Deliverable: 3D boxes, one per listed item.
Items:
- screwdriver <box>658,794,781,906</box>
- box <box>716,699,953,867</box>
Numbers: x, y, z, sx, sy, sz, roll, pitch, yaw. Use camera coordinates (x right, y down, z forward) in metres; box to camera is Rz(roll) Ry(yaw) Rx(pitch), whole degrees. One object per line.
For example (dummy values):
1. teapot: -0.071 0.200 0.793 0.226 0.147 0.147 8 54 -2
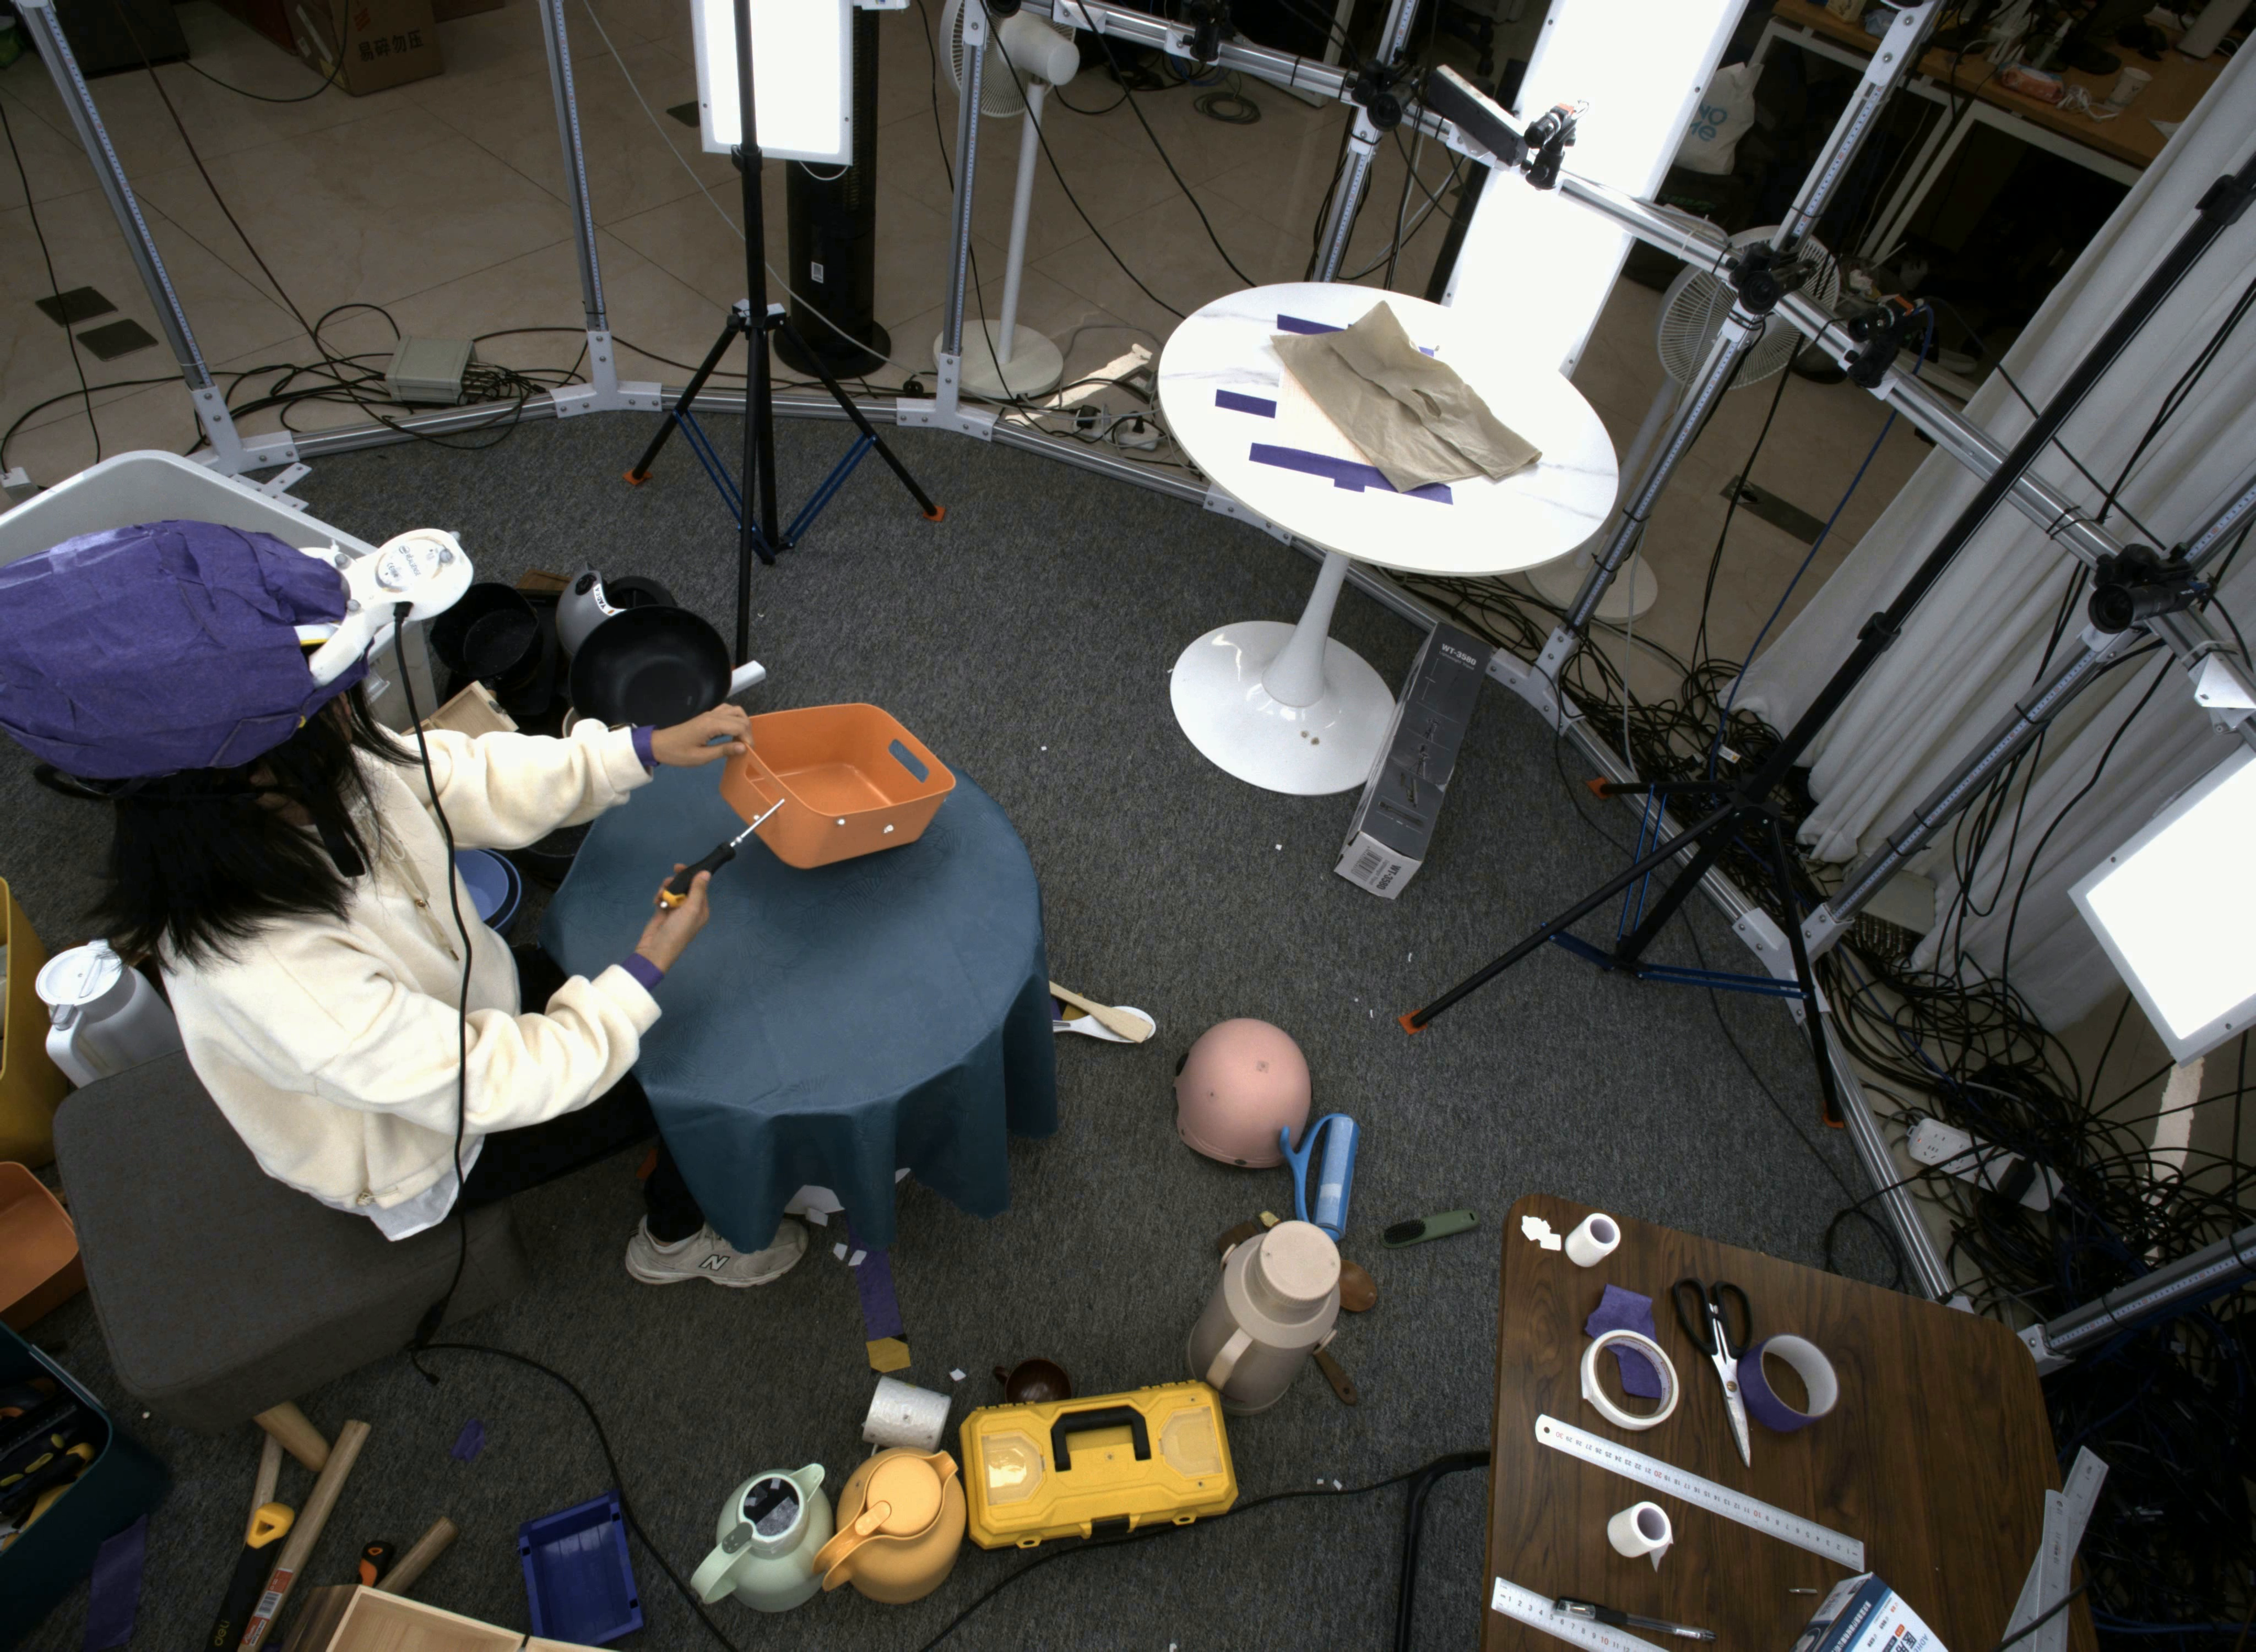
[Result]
1. screwdriver: -0.467 0.017 1.492 0.031 0.032 0.196 32 59 13
2. box: -0.377 -0.057 1.648 0.195 0.103 0.276 42 28 17
